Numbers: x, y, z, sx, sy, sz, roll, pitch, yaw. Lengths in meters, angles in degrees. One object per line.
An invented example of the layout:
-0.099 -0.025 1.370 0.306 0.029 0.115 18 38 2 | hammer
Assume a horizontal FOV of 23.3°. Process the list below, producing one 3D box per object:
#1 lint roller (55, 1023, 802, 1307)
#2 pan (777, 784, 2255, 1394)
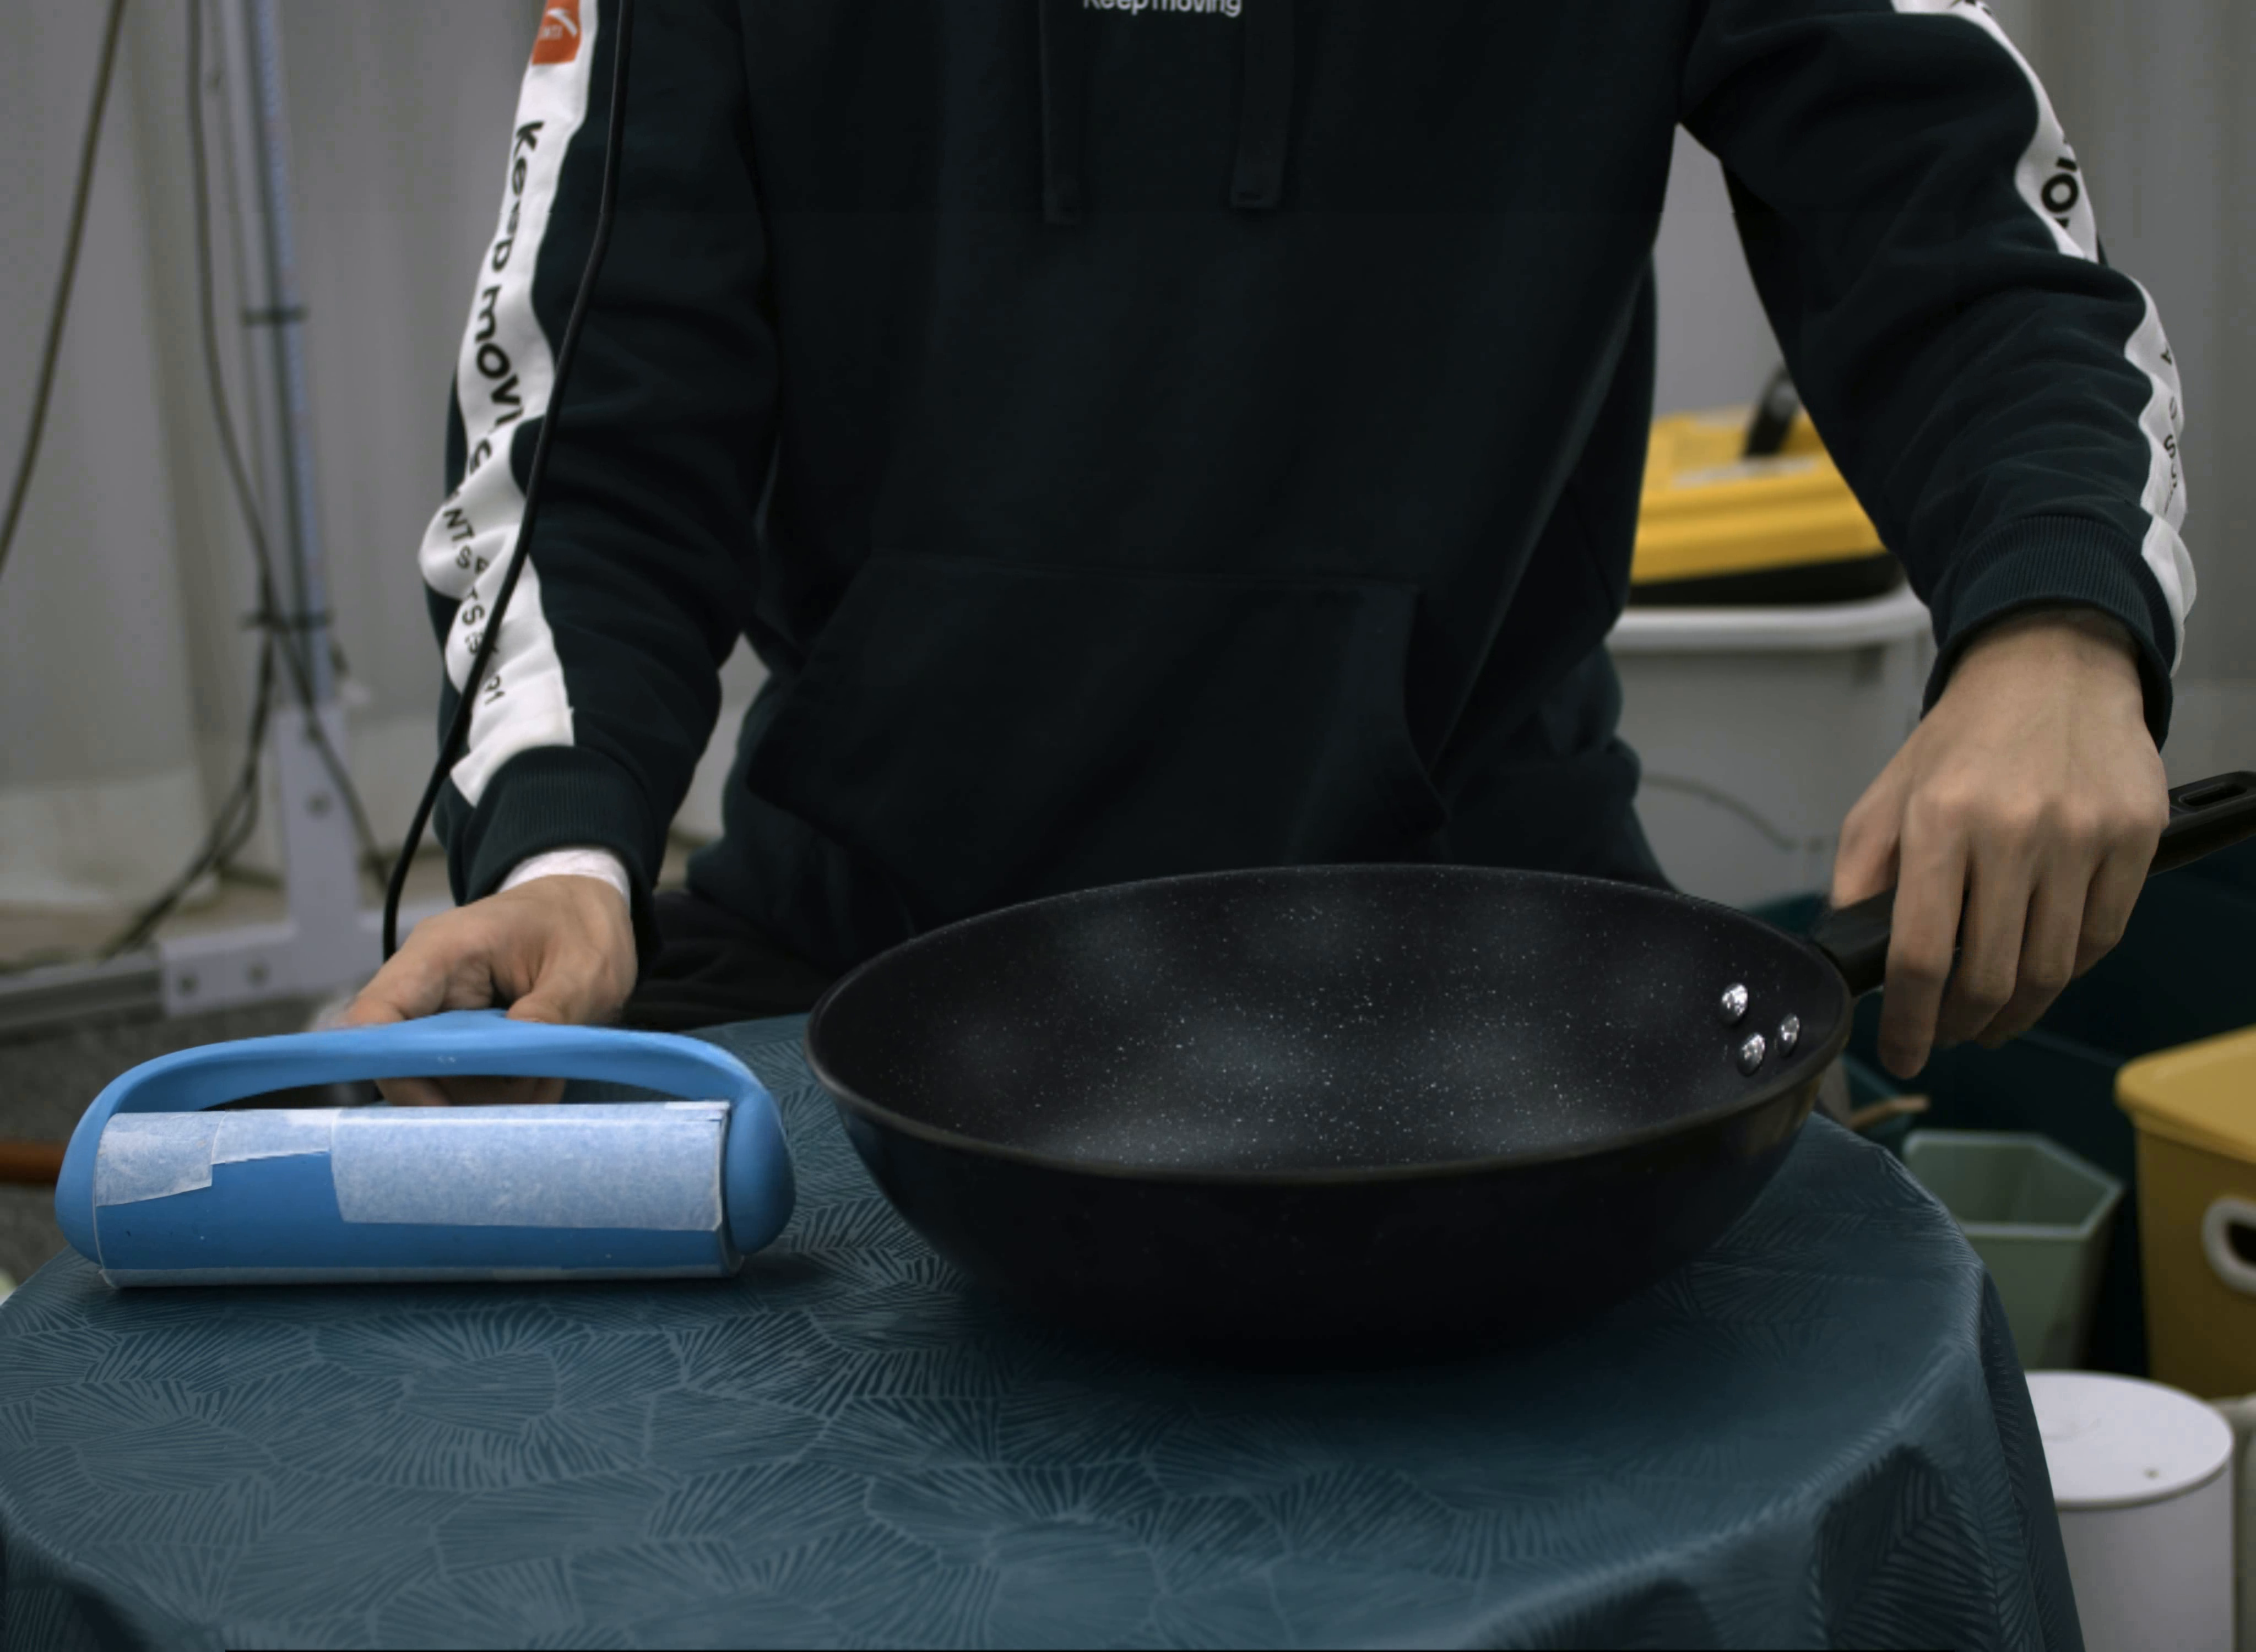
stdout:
-0.211 0.093 1.715 0.228 0.067 0.182 -5 20 3 | lint roller
0.130 0.074 1.637 0.475 0.111 0.313 -8 18 -19 | pan
